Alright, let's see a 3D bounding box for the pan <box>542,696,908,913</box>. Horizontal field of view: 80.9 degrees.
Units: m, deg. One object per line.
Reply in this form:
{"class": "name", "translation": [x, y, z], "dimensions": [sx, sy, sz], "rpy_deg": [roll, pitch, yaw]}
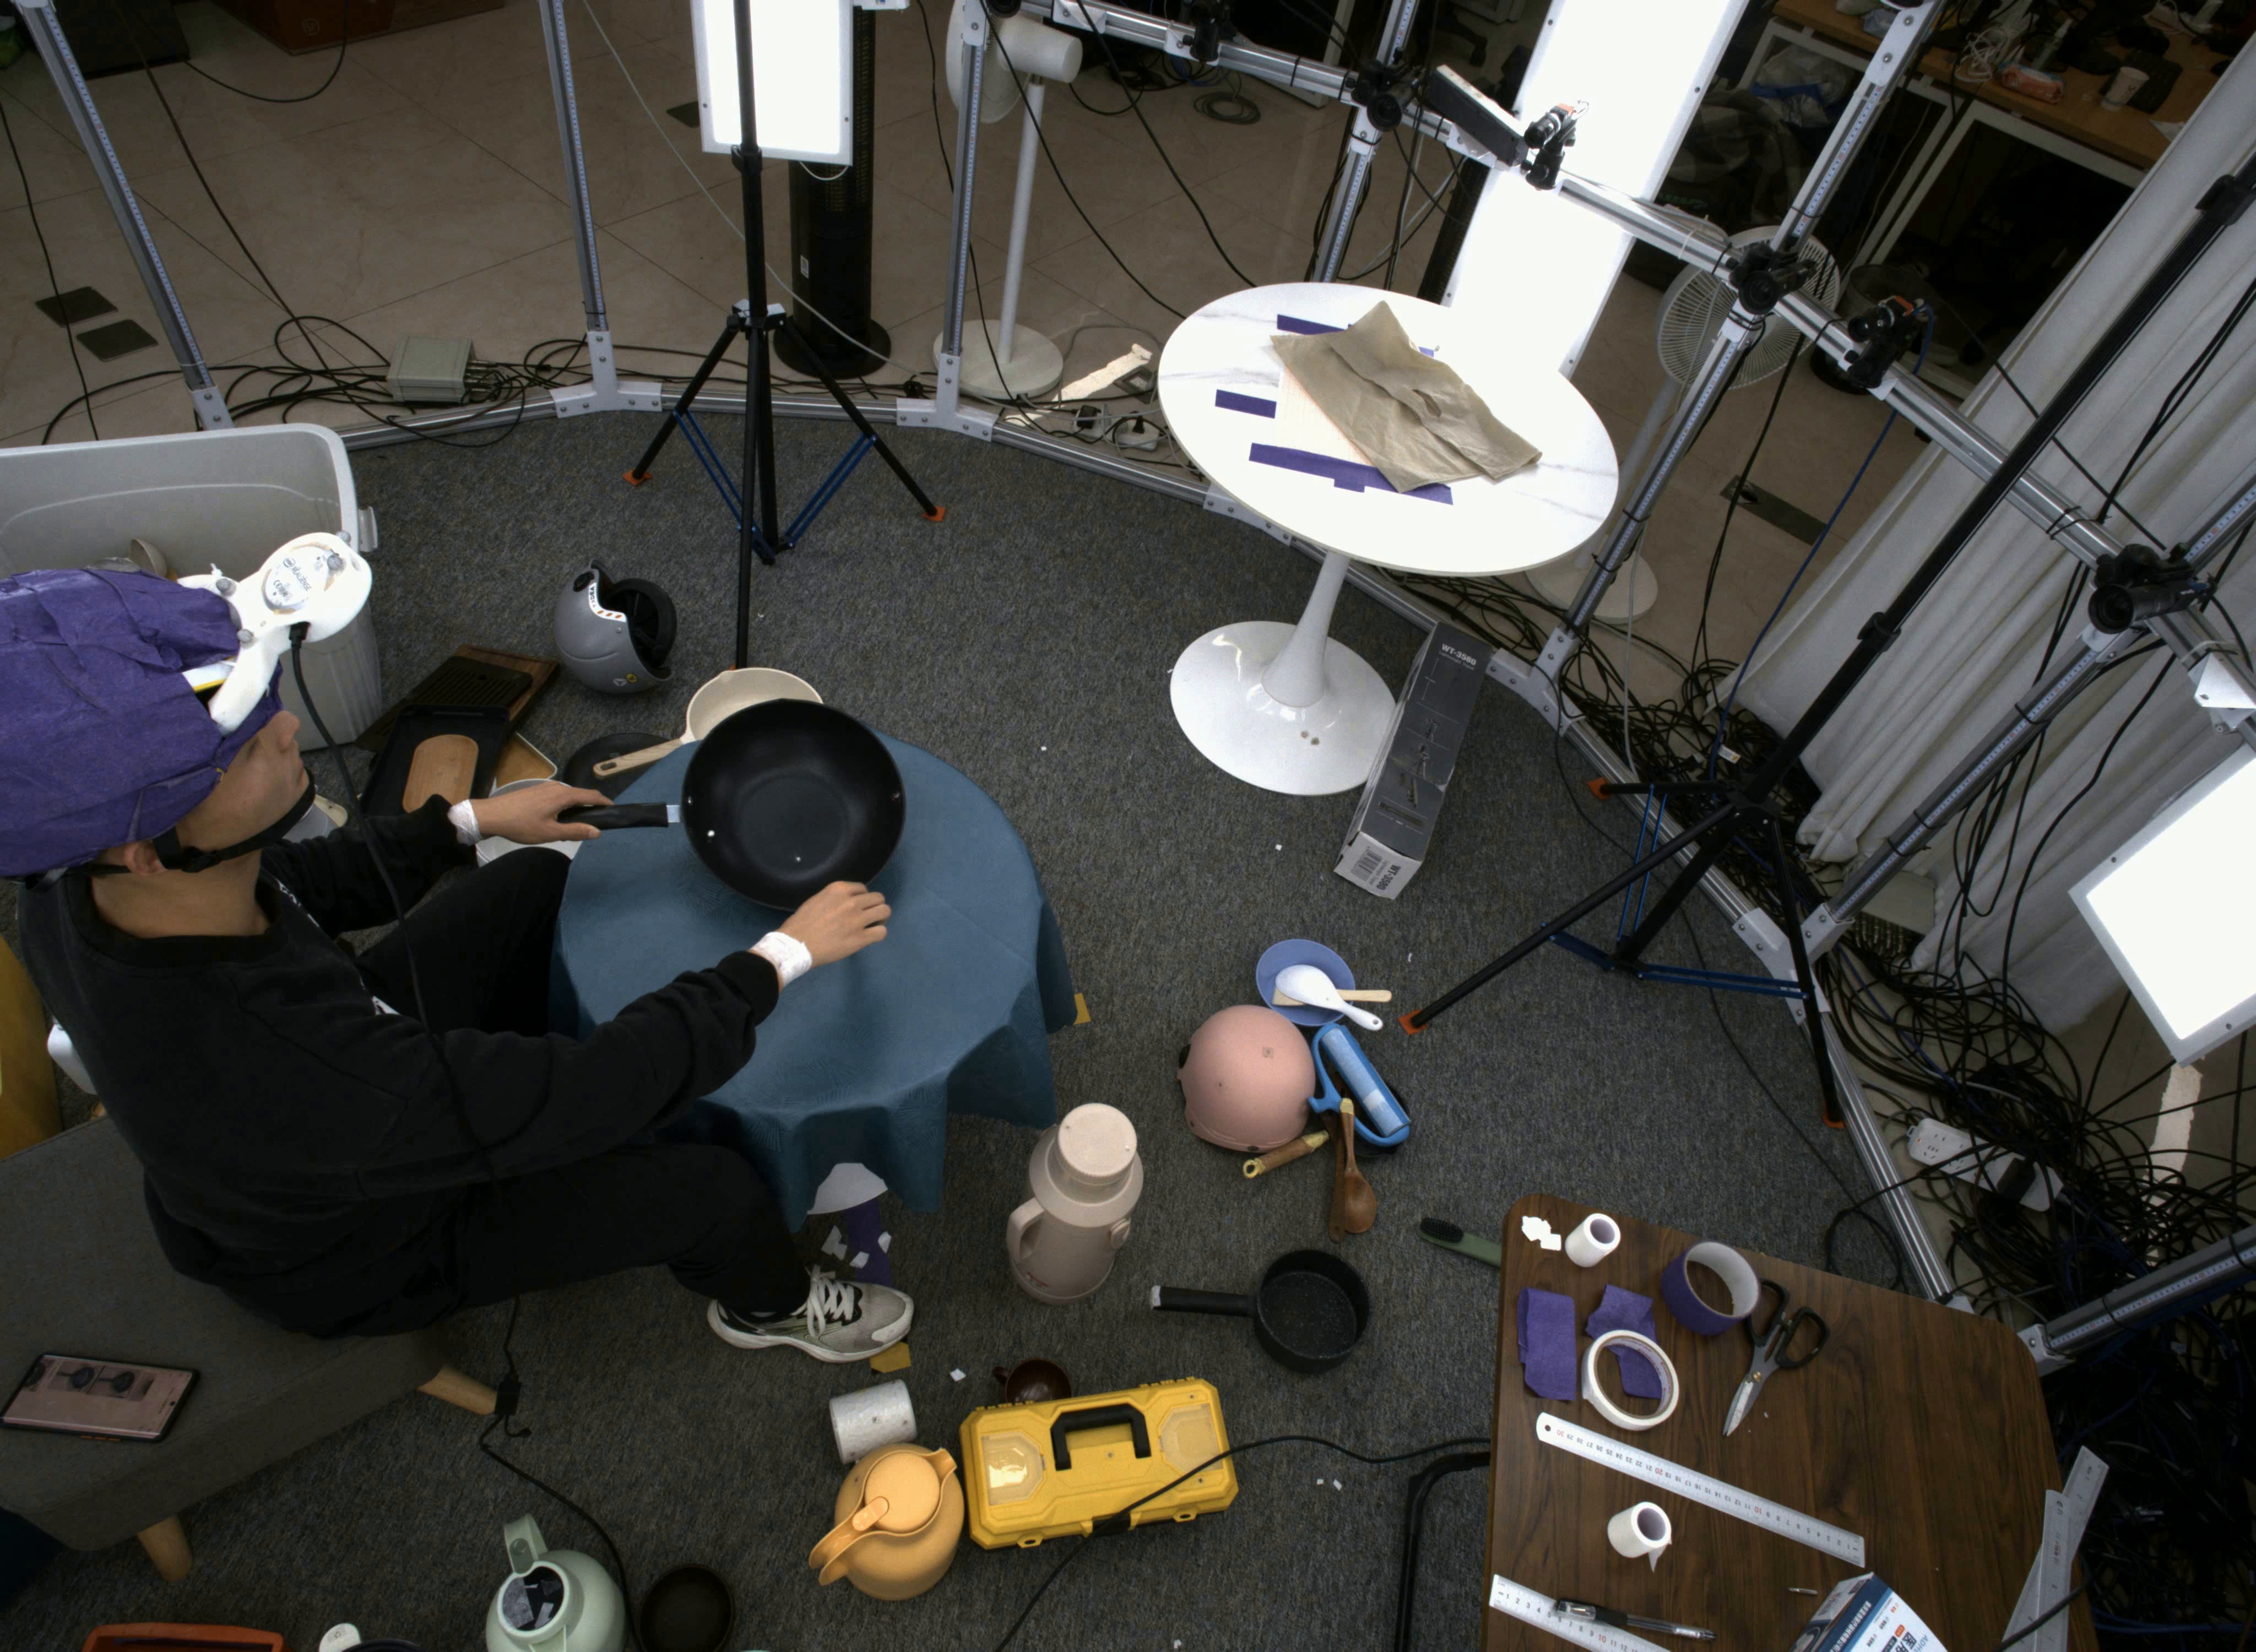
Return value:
{"class": "pan", "translation": [-0.510, -0.011, 1.623], "dimensions": [0.466, 0.087, 0.286], "rpy_deg": [-6, 74, -21]}

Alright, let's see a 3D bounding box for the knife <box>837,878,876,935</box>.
{"class": "knife", "translation": [-0.332, 0.090, 1.579], "dimensions": [0.026, 0.018, 0.219], "rpy_deg": [-39, 24, -7]}
